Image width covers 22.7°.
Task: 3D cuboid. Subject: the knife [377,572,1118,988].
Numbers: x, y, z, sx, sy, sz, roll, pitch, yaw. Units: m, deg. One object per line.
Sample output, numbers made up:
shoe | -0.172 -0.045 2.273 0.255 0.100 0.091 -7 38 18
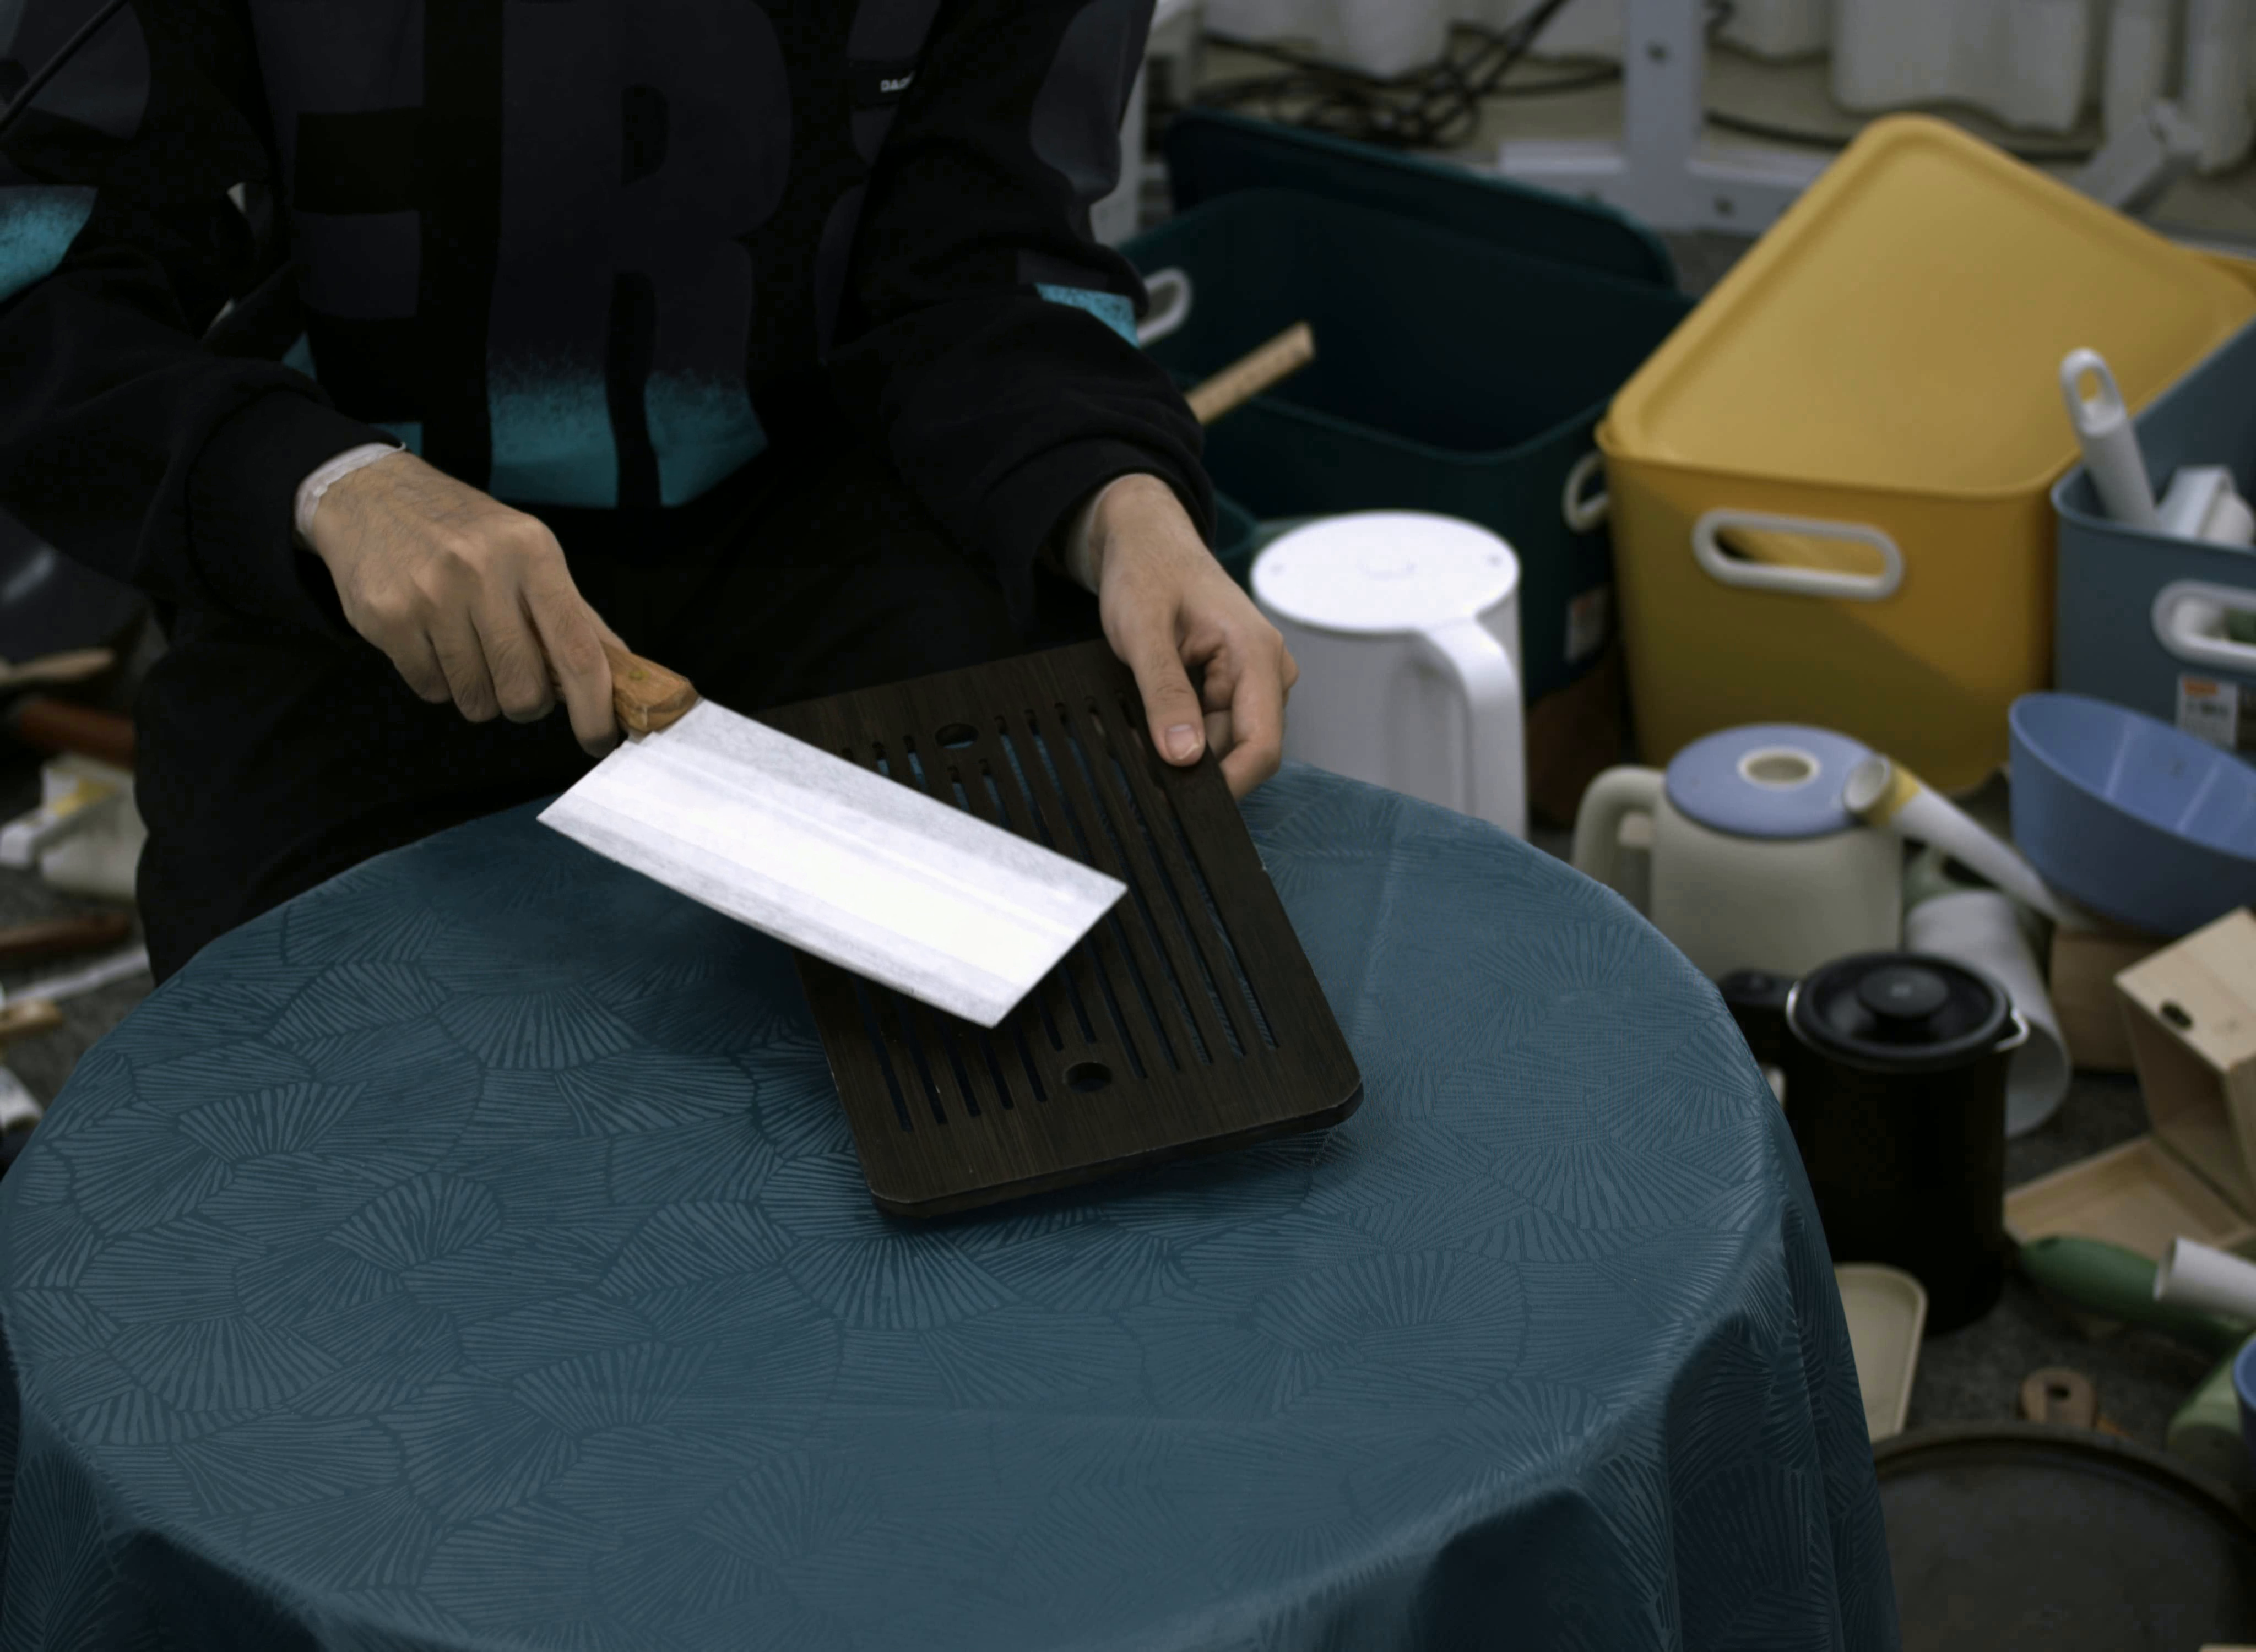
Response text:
knife | -0.150 -0.013 1.975 0.305 0.020 0.094 23 42 22

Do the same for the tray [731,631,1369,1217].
tray | -0.033 0.031 1.977 0.170 0.018 0.310 -12 35 -8
